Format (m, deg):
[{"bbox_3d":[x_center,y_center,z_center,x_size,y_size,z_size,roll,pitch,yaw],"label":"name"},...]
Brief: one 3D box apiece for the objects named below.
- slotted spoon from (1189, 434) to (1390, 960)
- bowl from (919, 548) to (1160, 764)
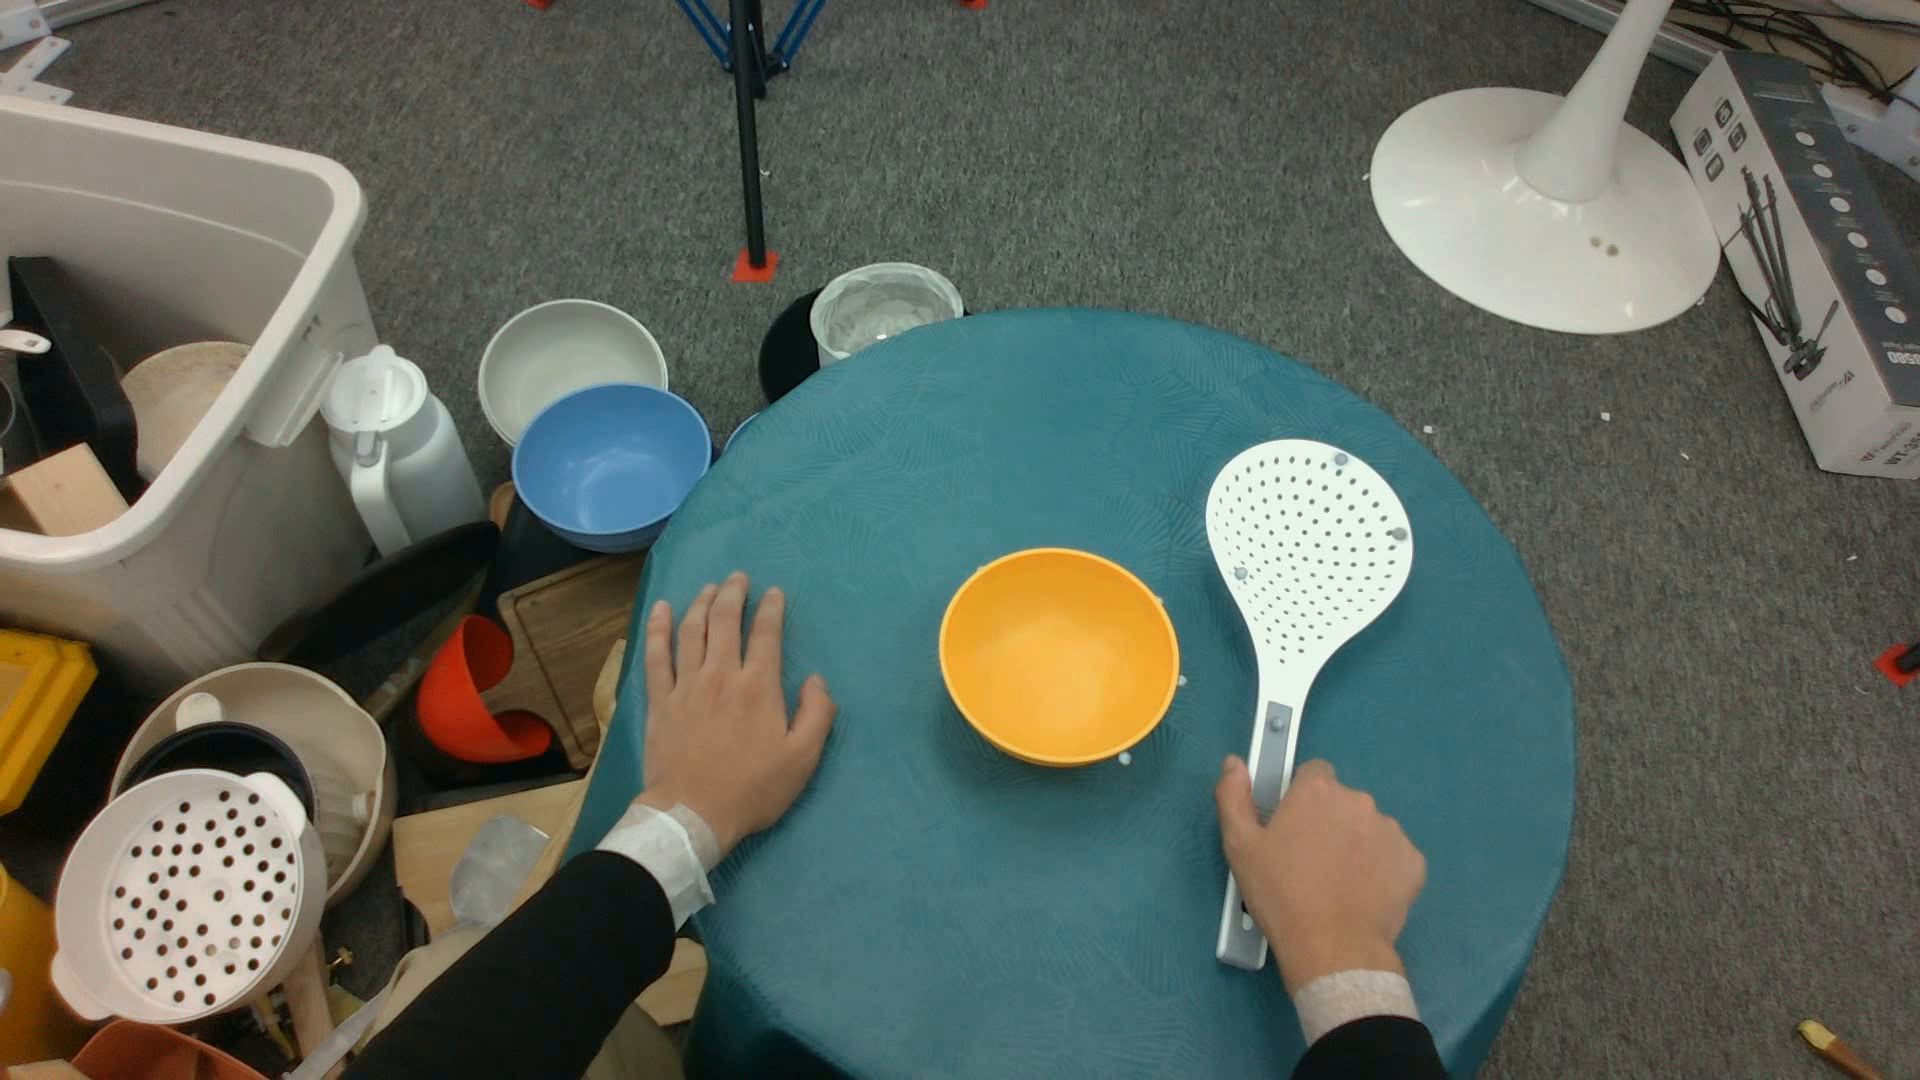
[{"bbox_3d":[0.188,0.085,0.855,0.136,0.045,0.351,16,58,0],"label":"slotted spoon"},{"bbox_3d":[0.046,0.080,0.840,0.145,0.060,0.146,2,55,-2],"label":"bowl"}]
